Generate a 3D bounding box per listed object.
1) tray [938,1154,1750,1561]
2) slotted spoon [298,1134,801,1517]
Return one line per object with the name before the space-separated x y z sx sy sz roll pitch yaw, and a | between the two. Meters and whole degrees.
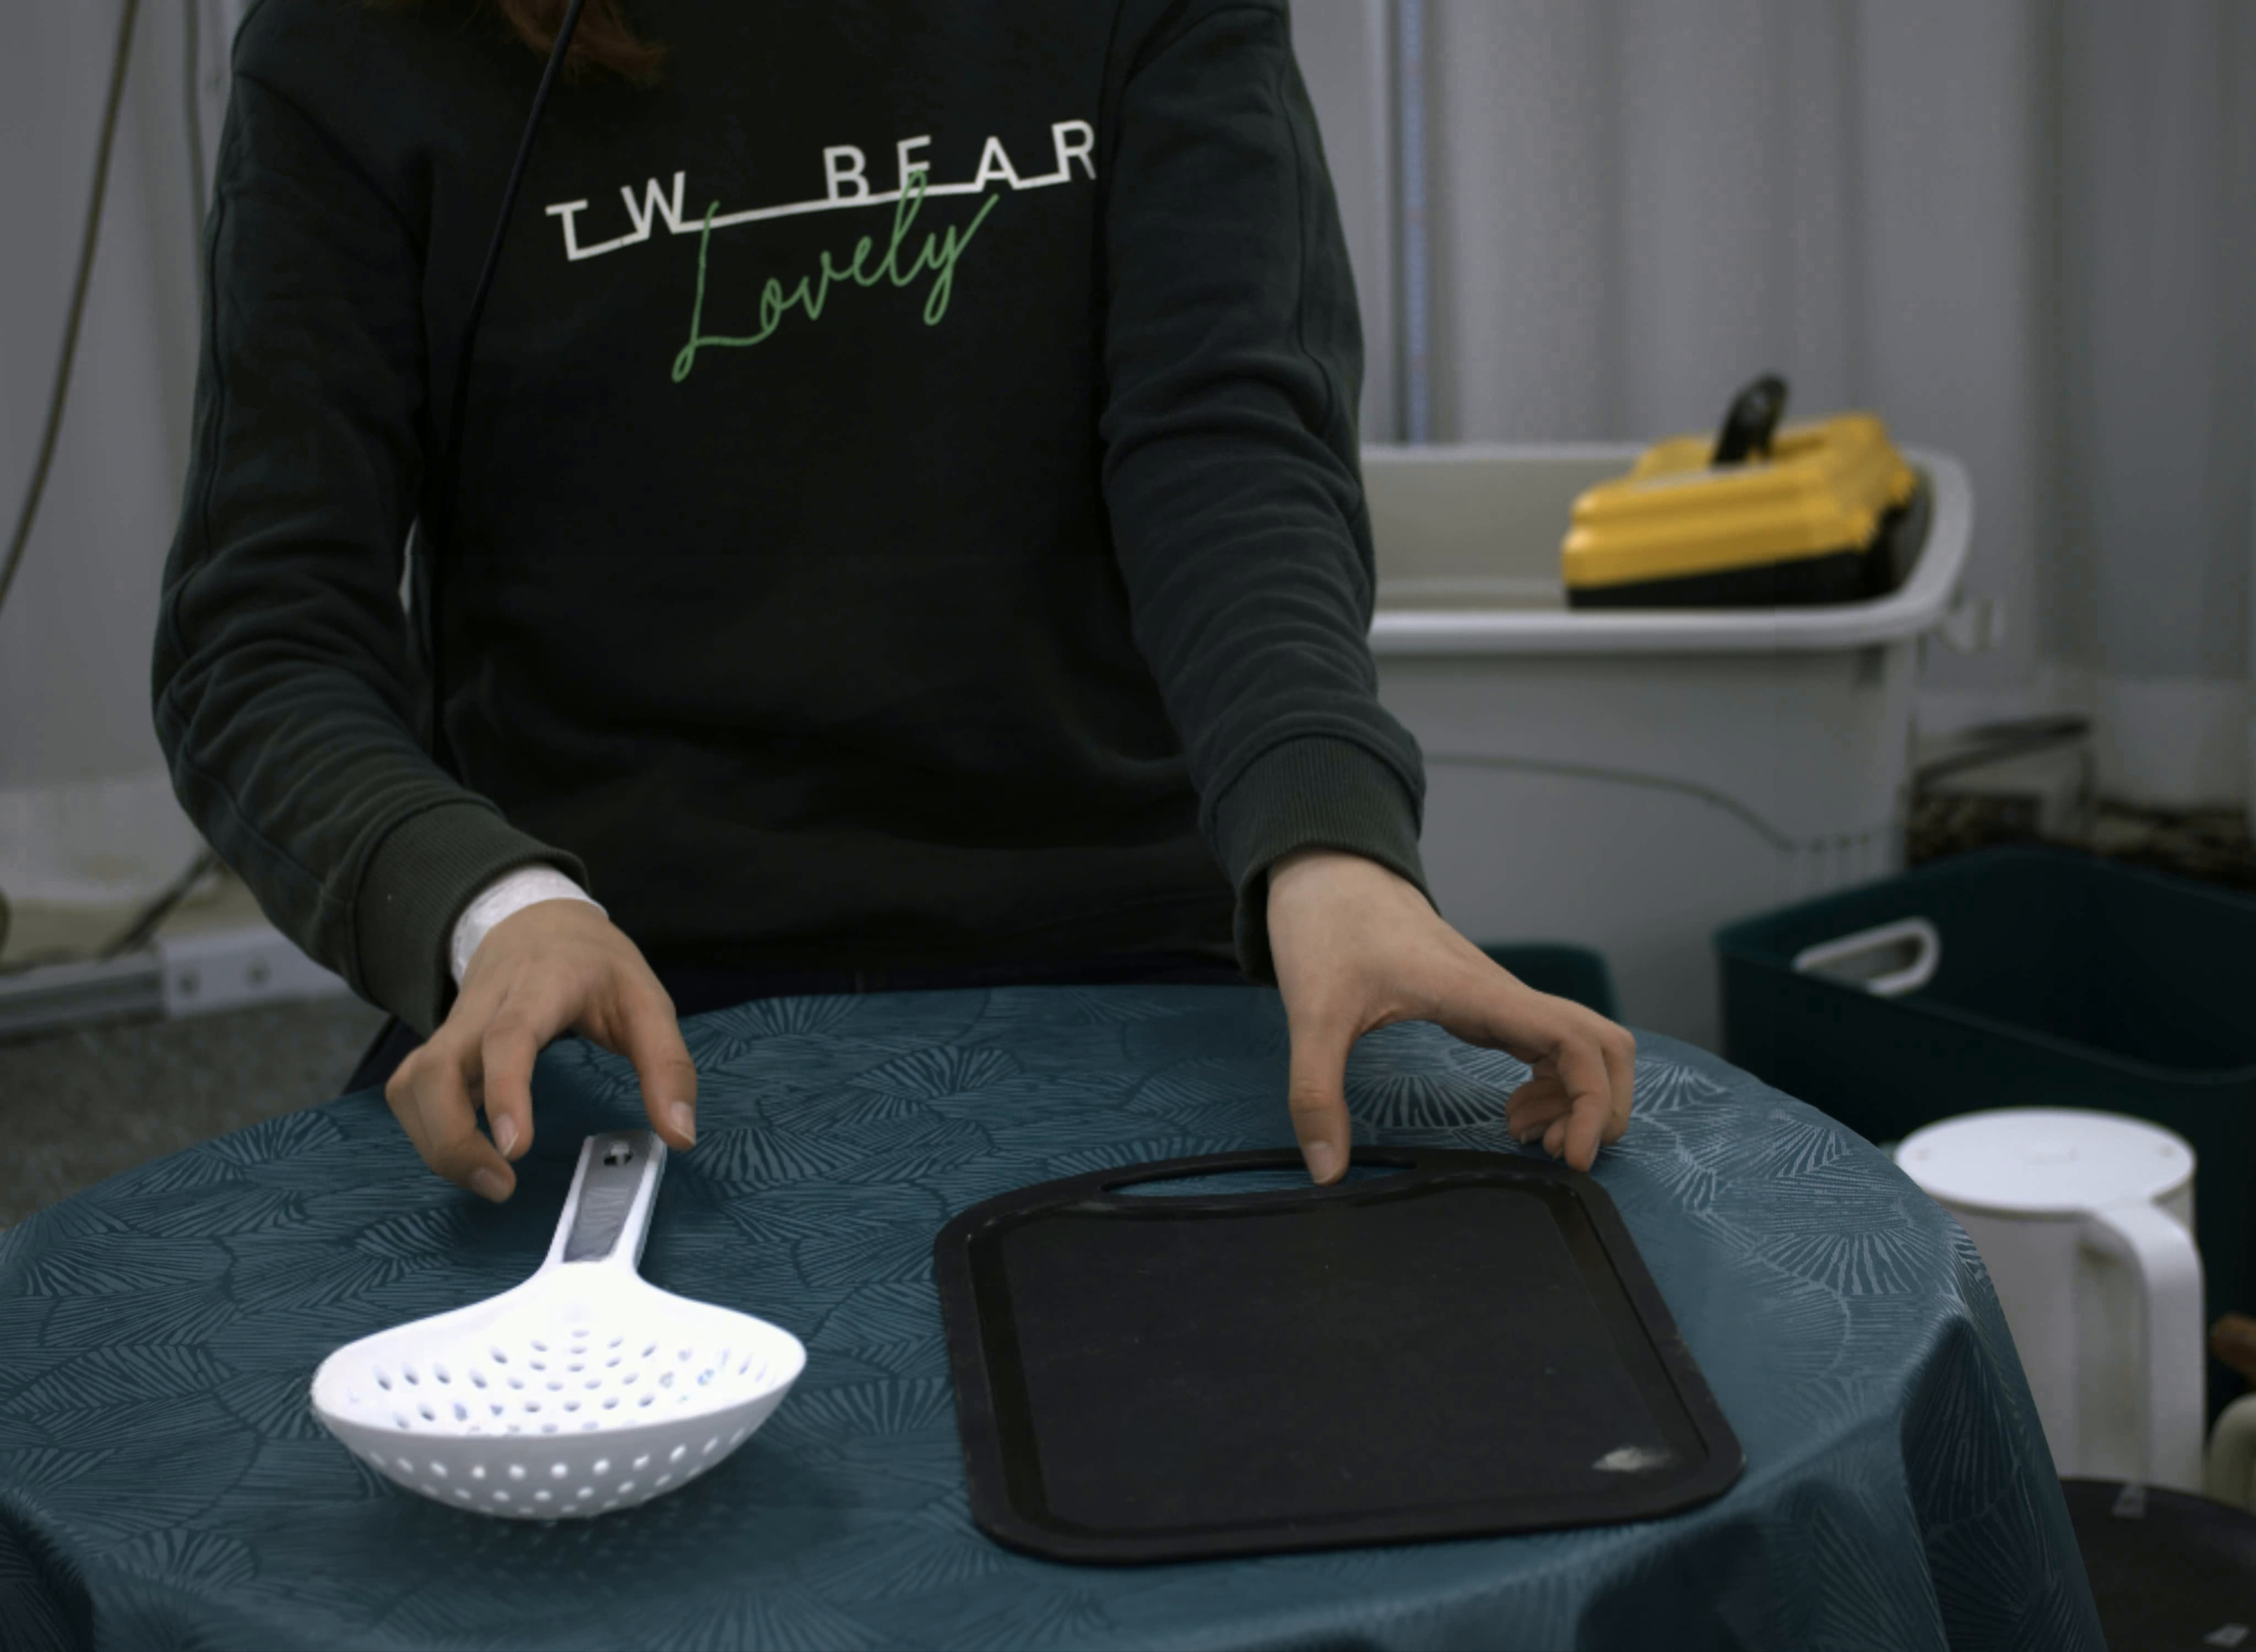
tray | 0.053 0.145 1.576 0.210 0.010 0.328 -4 15 -4
slotted spoon | -0.157 0.135 1.581 0.135 0.045 0.352 -1 14 -1
